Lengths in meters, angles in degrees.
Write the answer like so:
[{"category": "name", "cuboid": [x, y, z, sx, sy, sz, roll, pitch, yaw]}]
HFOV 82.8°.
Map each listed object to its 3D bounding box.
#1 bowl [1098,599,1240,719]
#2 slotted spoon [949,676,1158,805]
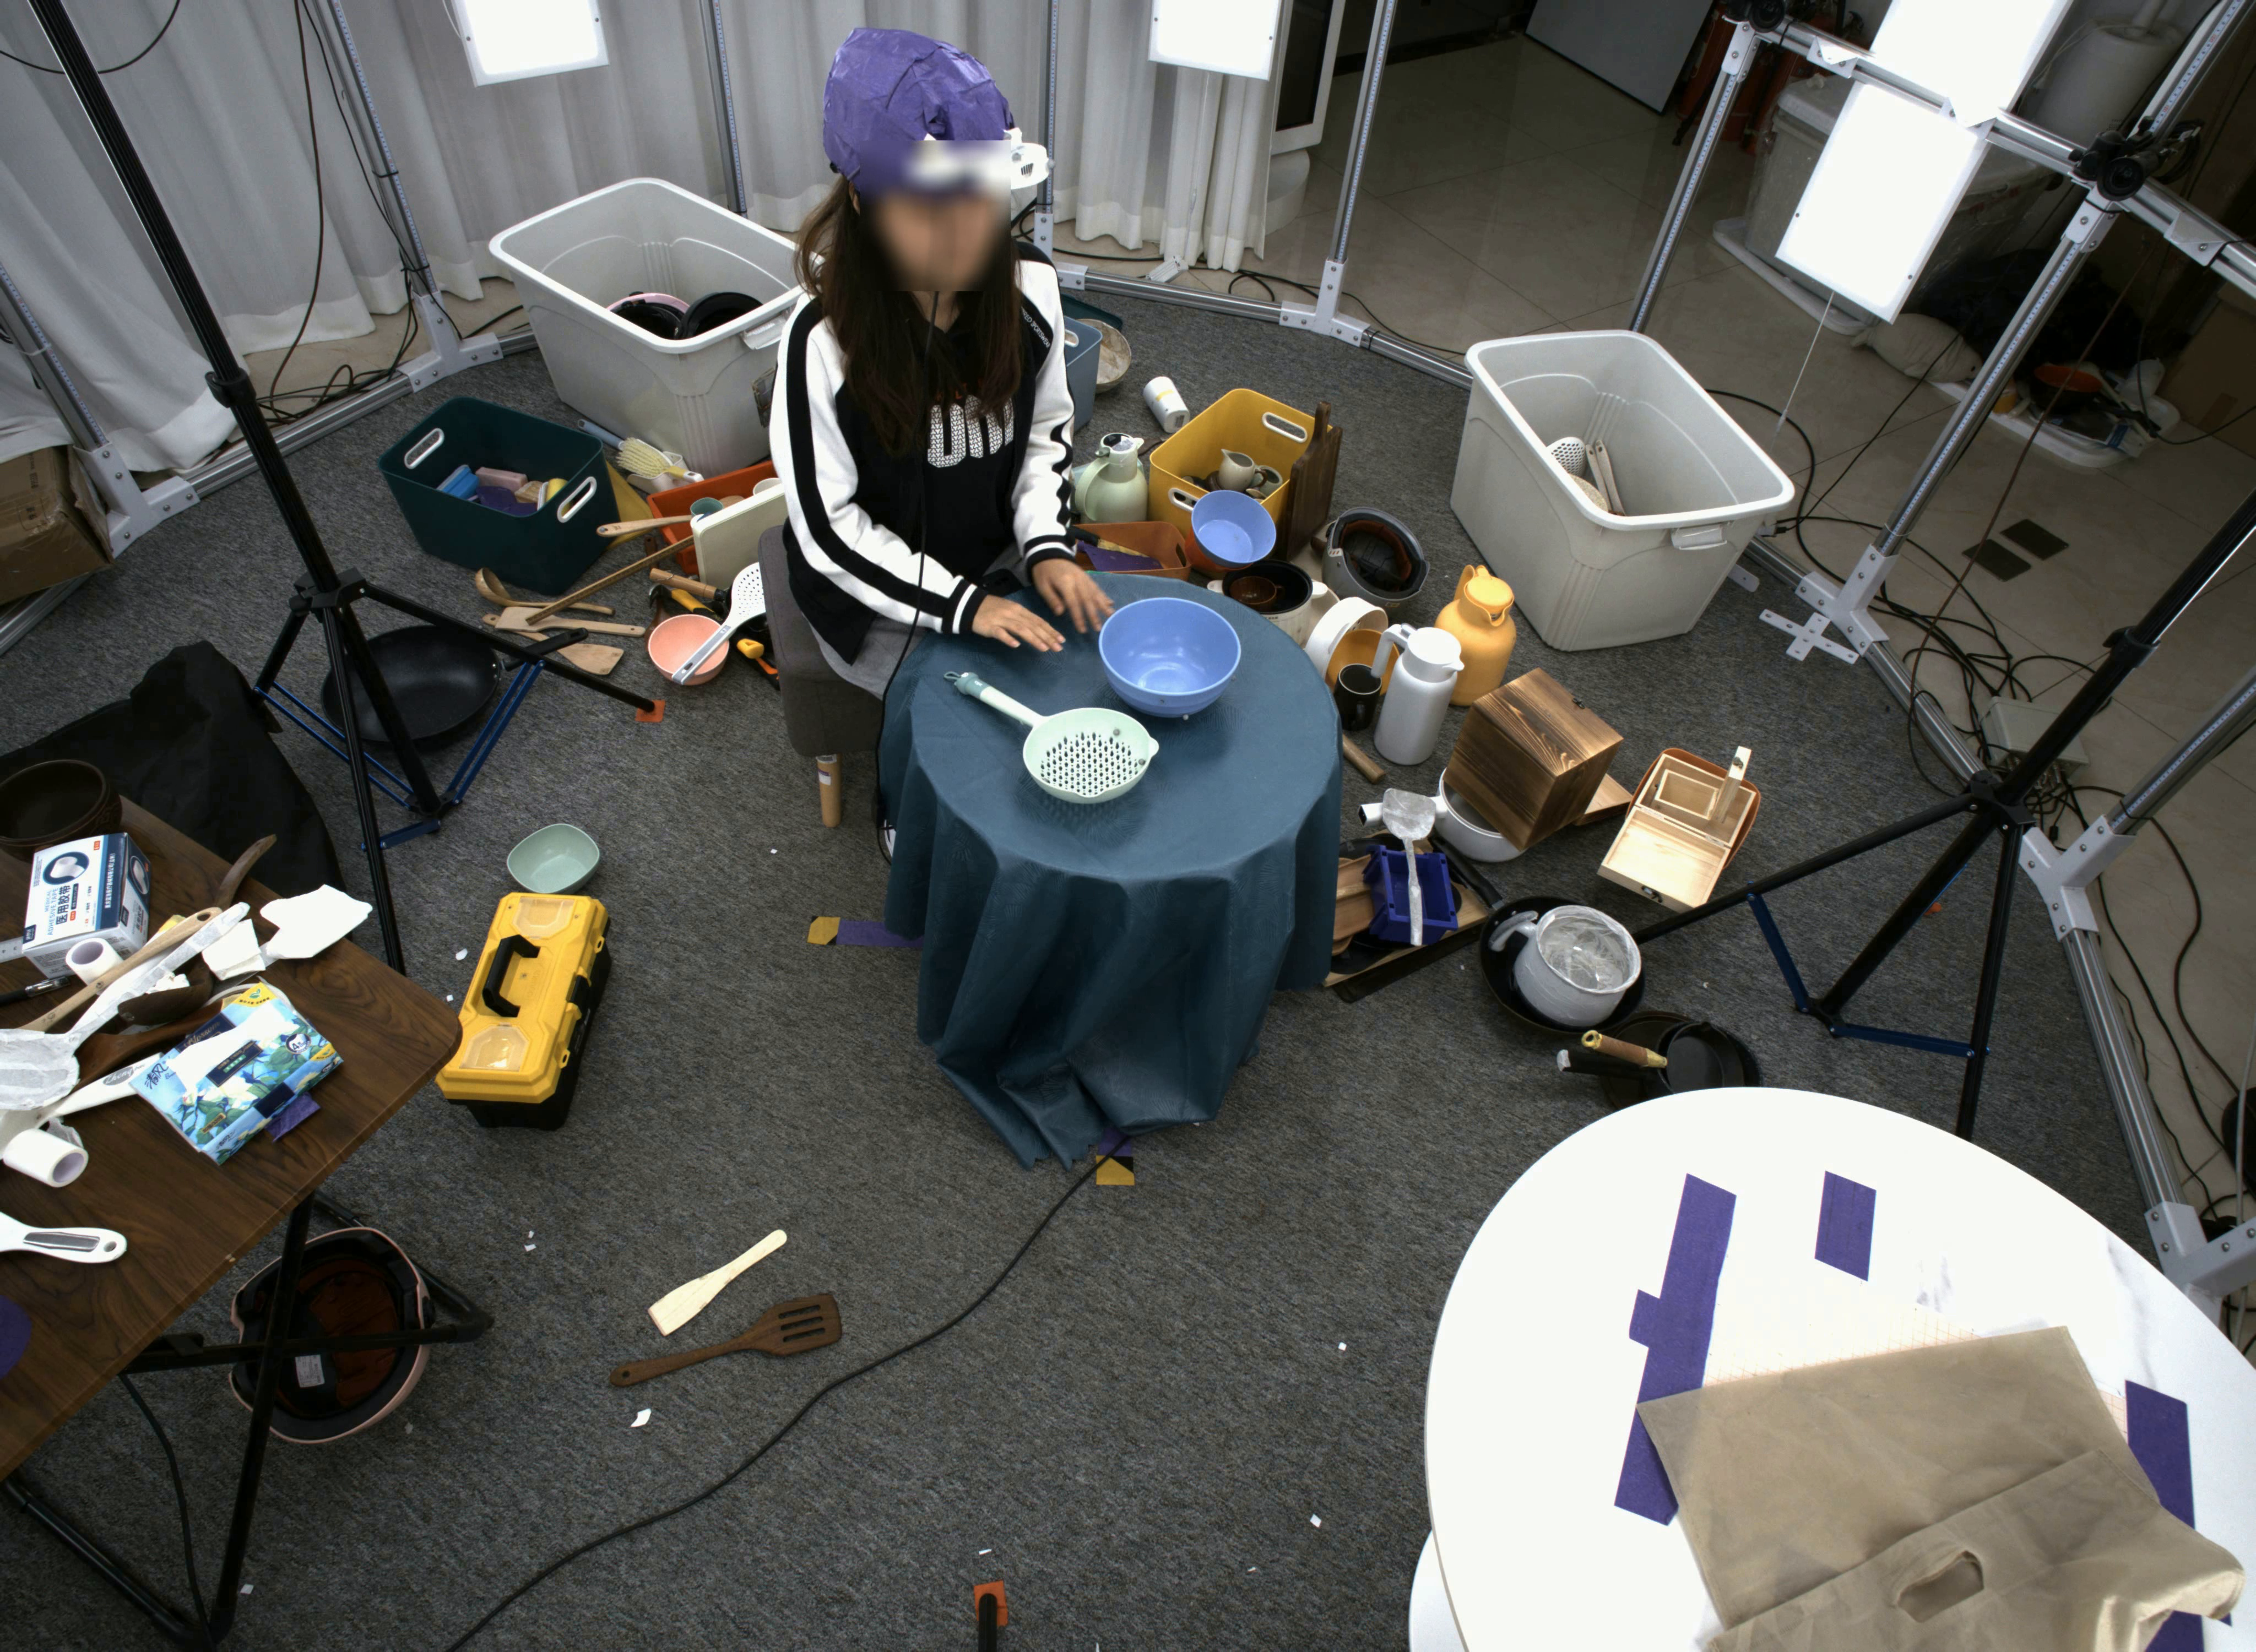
[{"category": "bowl", "cuboid": [0.055, -0.220, 1.804, 0.196, 0.093, 0.201, 2, 49, -2]}, {"category": "slotted spoon", "cuboid": [-0.123, -0.135, 1.742, 0.364, 0.073, 0.171, 37, 56, 27]}]
